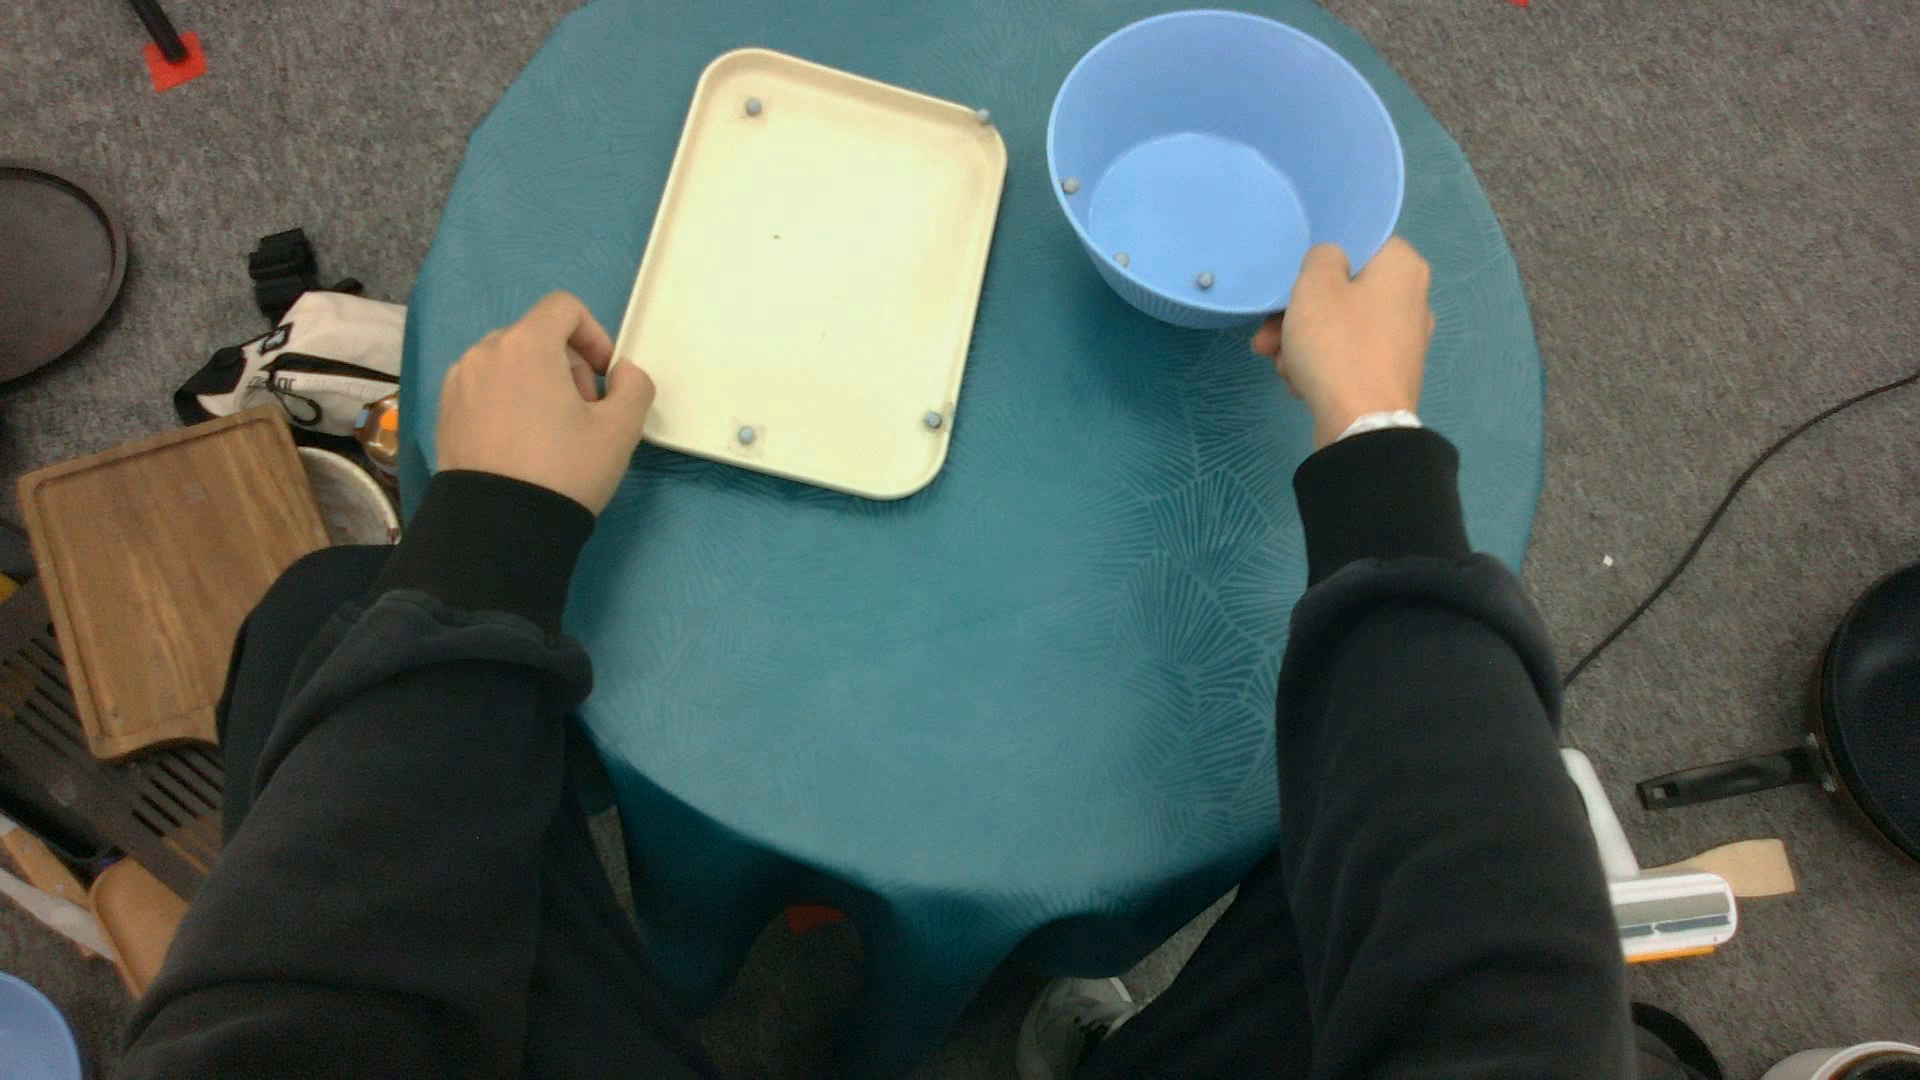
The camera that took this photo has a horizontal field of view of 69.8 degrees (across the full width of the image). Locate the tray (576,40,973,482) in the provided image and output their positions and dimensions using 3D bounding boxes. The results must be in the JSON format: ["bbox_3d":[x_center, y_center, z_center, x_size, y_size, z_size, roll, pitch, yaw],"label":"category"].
[{"bbox_3d":[-0.090,-0.148,0.715,0.171,0.017,0.240,13,68,-6],"label":"tray"}]

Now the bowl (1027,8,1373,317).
[{"bbox_3d":[0.117,-0.183,0.713,0.176,0.070,0.176,2,69,-6],"label":"bowl"}]
